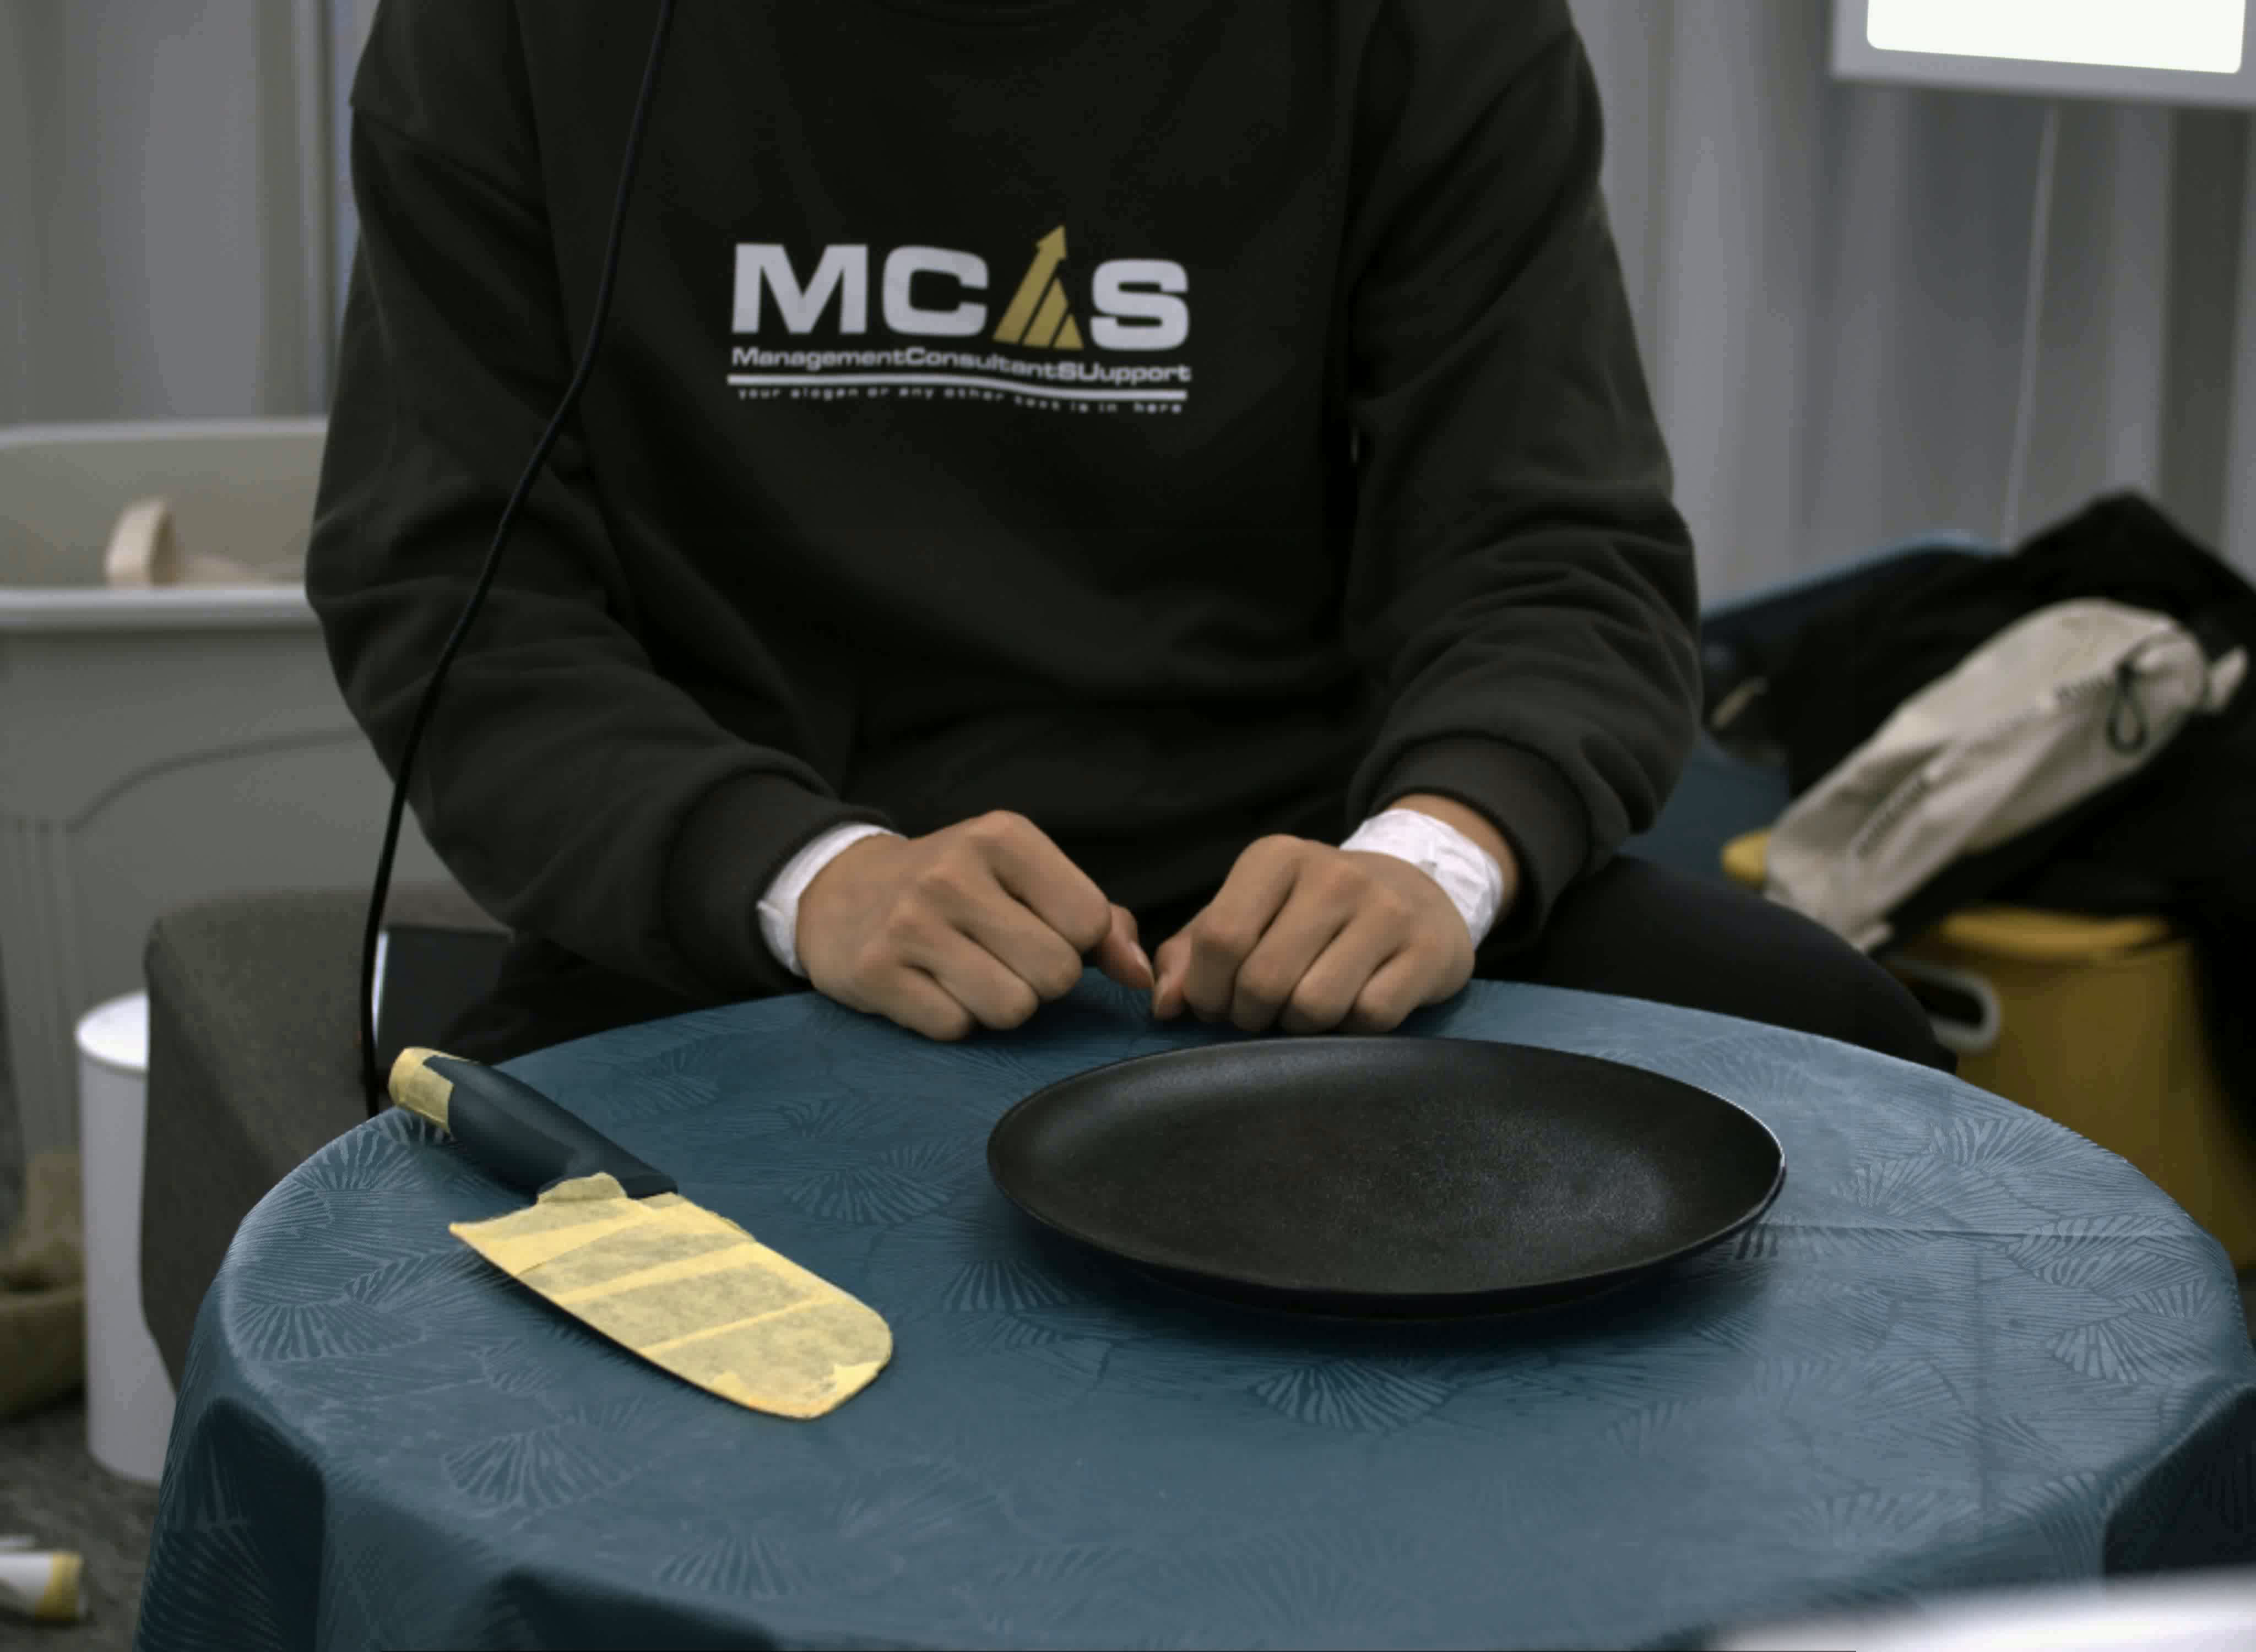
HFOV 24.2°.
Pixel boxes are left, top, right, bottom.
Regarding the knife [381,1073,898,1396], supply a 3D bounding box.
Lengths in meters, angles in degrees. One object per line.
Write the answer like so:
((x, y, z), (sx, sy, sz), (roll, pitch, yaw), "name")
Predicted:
((-0.158, 0.122, 1.559), (0.081, 0.027, 0.285), (-8, 18, -34), "knife")

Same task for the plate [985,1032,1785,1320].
((0.077, 0.108, 1.598), (0.243, 0.023, 0.243), (1, 15, 0), "plate")
